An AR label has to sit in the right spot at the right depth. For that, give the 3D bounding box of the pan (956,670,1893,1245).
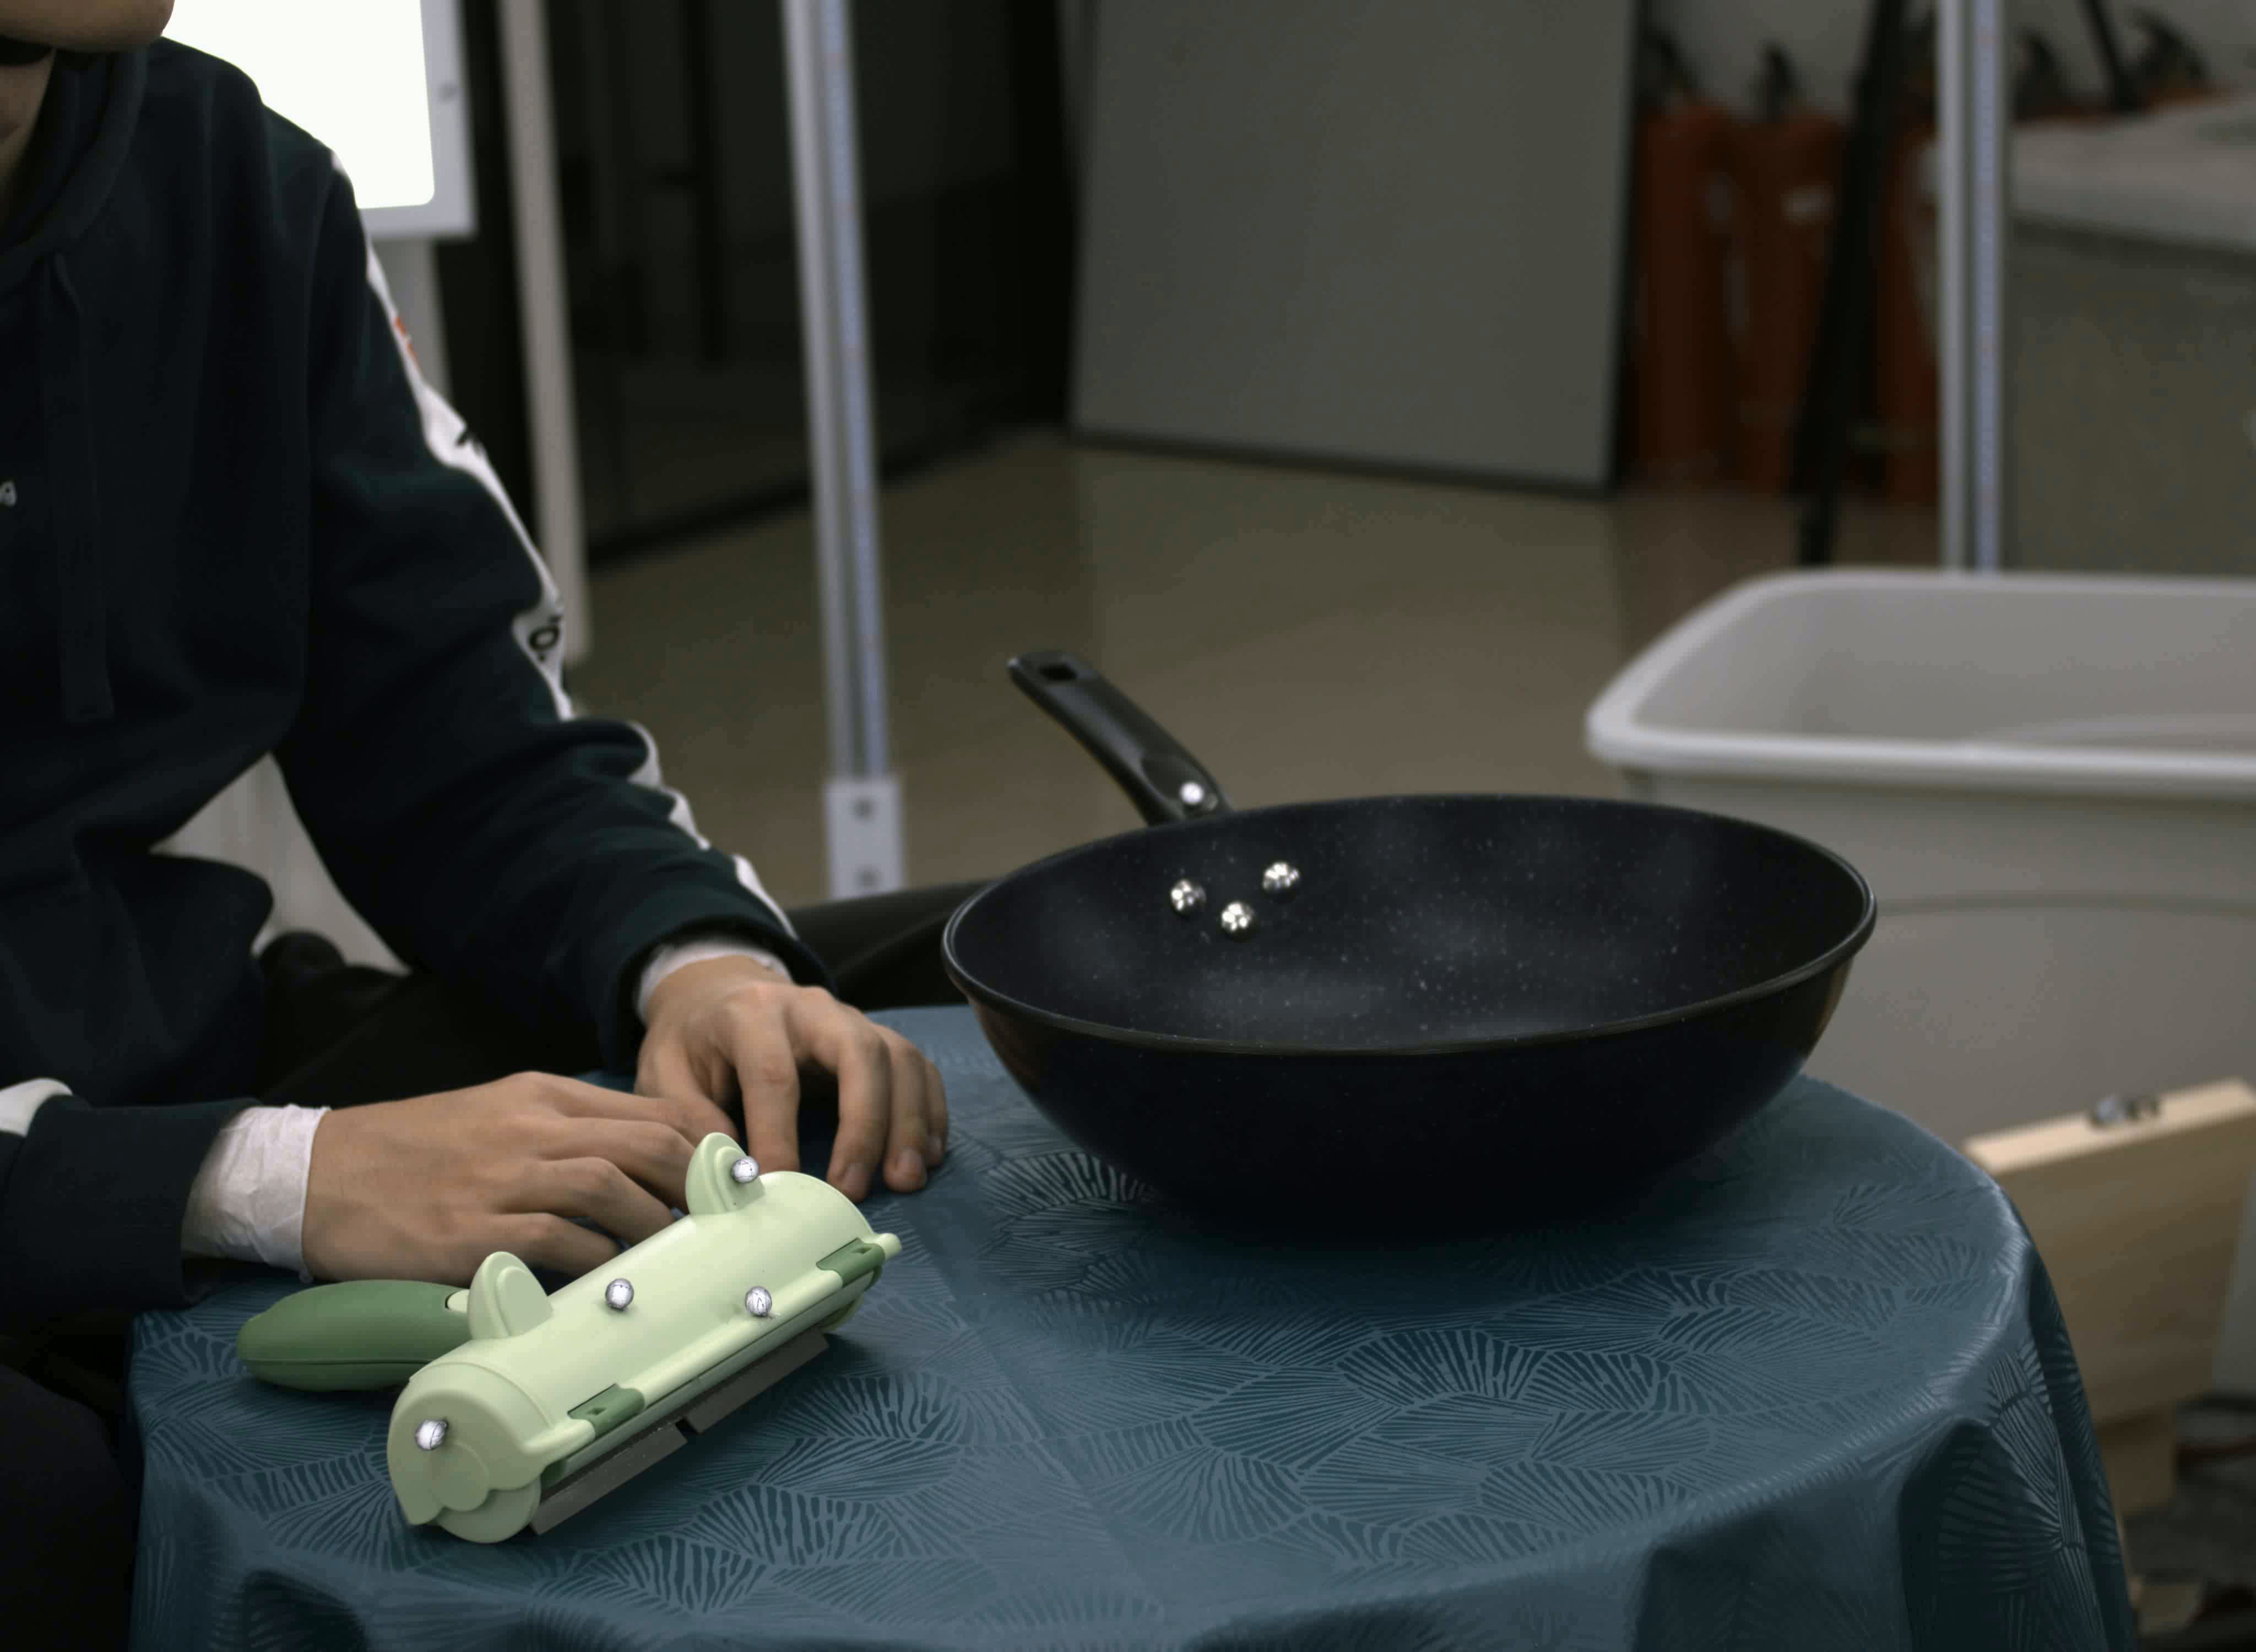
[{"bbox_3d":[0.064,0.044,1.845,0.303,0.113,0.481,-8,15,-22],"label":"pan"}]

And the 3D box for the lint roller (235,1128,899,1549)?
[{"bbox_3d":[-0.190,0.138,1.599,0.184,0.083,0.196,9,19,28],"label":"lint roller"}]
